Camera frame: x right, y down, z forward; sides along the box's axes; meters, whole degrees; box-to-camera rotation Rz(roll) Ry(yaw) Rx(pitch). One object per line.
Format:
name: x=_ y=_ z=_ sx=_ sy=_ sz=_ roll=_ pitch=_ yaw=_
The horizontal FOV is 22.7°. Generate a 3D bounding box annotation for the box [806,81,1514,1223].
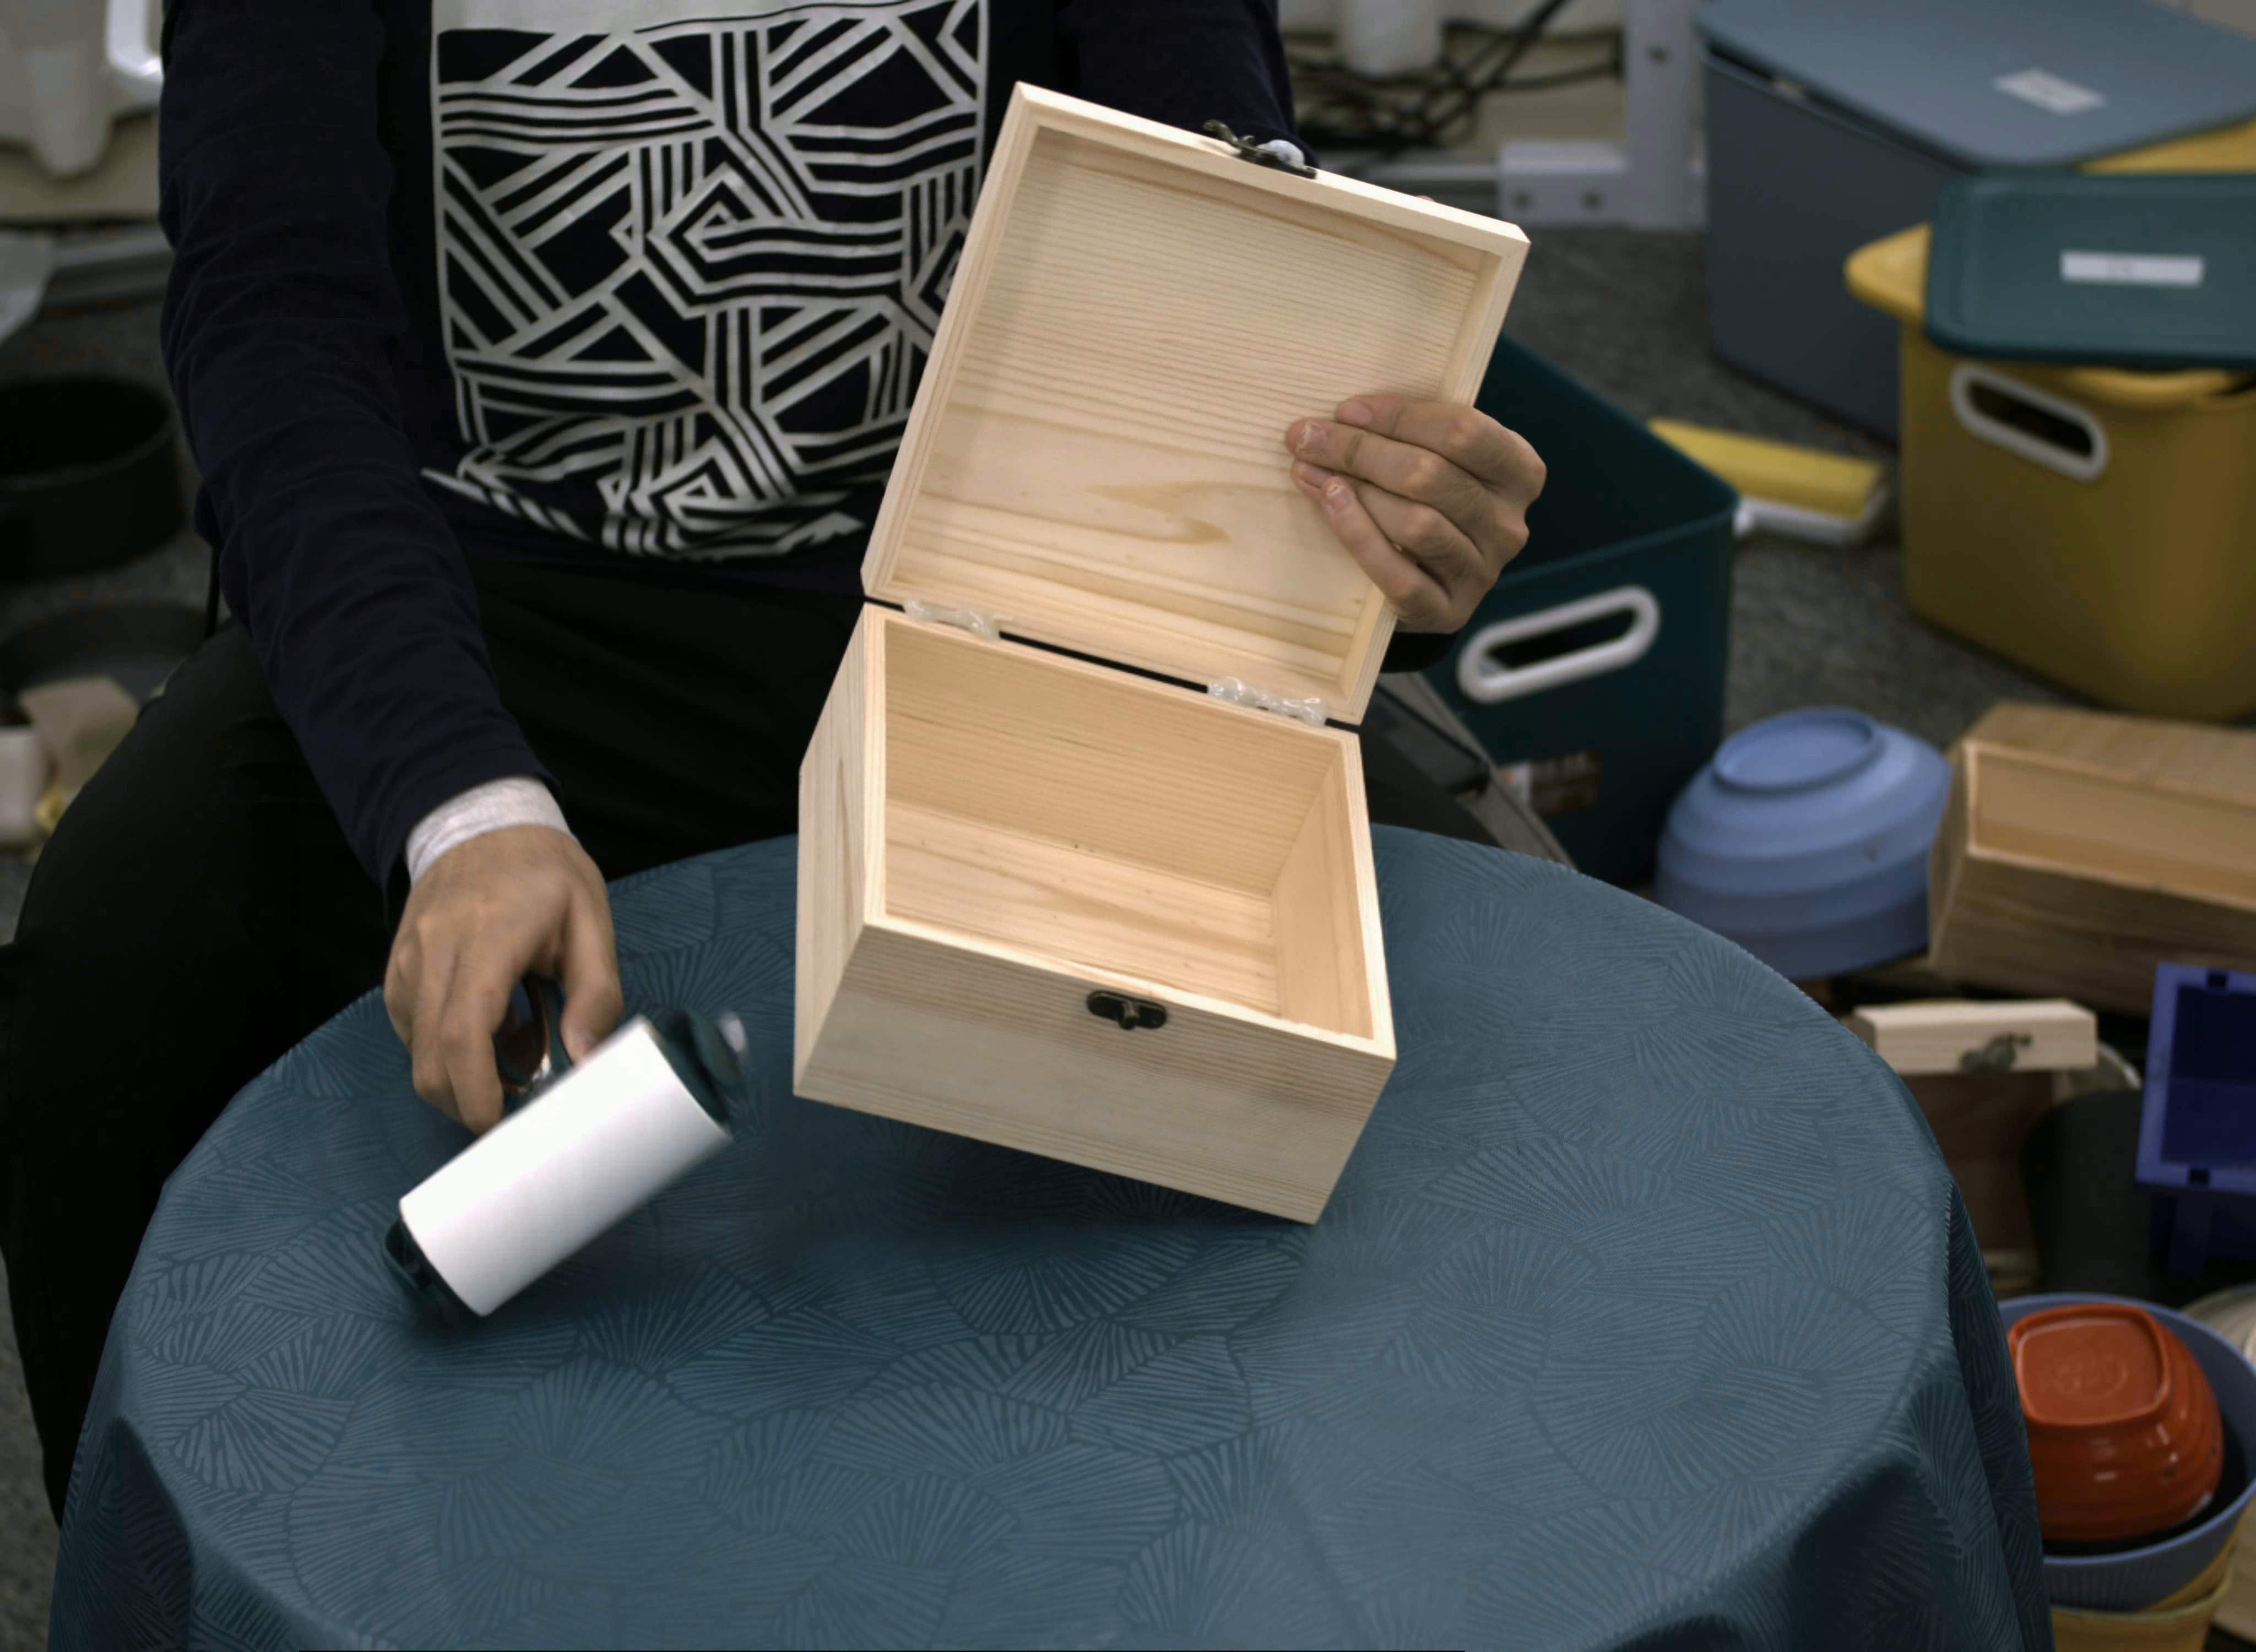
box: x=0.014 y=-0.059 z=1.855 sx=0.181 sy=0.249 sz=0.270 roll=13 pitch=33 yaw=-13

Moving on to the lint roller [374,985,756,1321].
lint roller: x=-0.200 y=0.084 z=1.859 sx=0.134 sy=0.048 sz=0.182 roll=-32 pitch=33 yaw=-3
